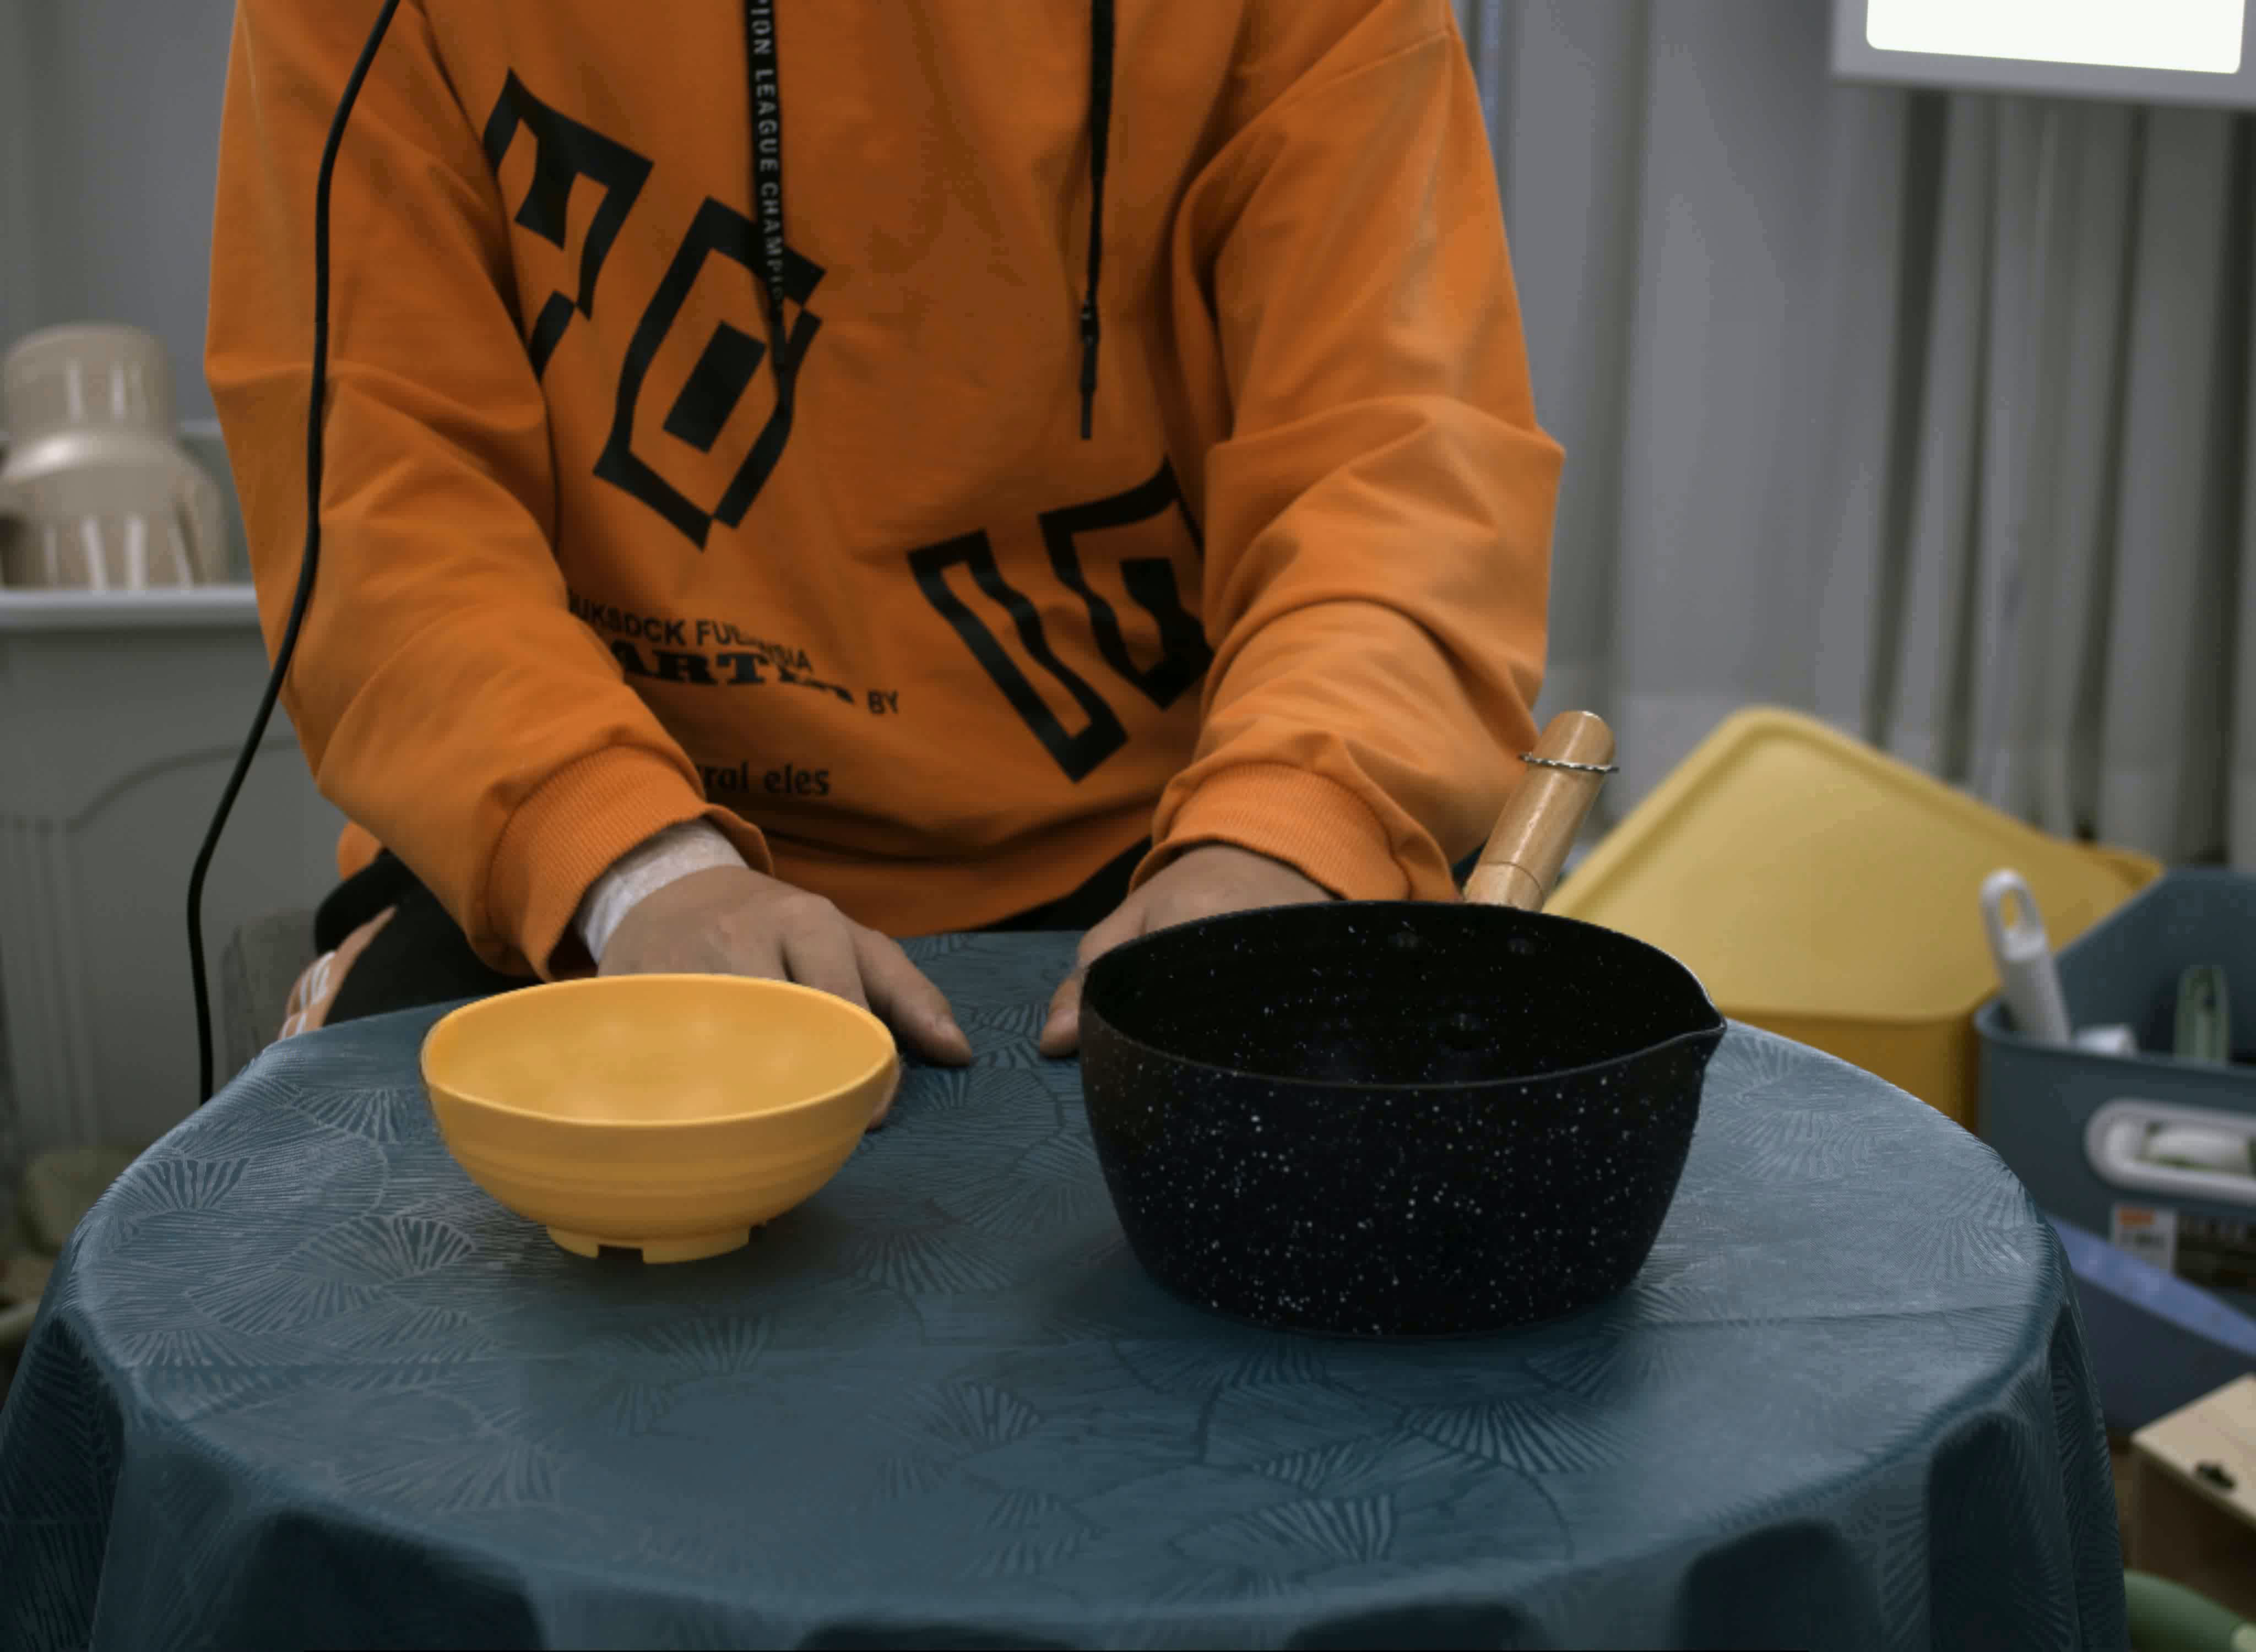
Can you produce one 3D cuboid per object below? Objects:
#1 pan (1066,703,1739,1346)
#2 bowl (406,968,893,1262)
[{"bbox_3d":[0.100,0.056,1.627,0.206,0.109,0.342,4,17,16],"label":"pan"},{"bbox_3d":[-0.144,0.092,1.580,0.145,0.060,0.144,2,16,0],"label":"bowl"}]
